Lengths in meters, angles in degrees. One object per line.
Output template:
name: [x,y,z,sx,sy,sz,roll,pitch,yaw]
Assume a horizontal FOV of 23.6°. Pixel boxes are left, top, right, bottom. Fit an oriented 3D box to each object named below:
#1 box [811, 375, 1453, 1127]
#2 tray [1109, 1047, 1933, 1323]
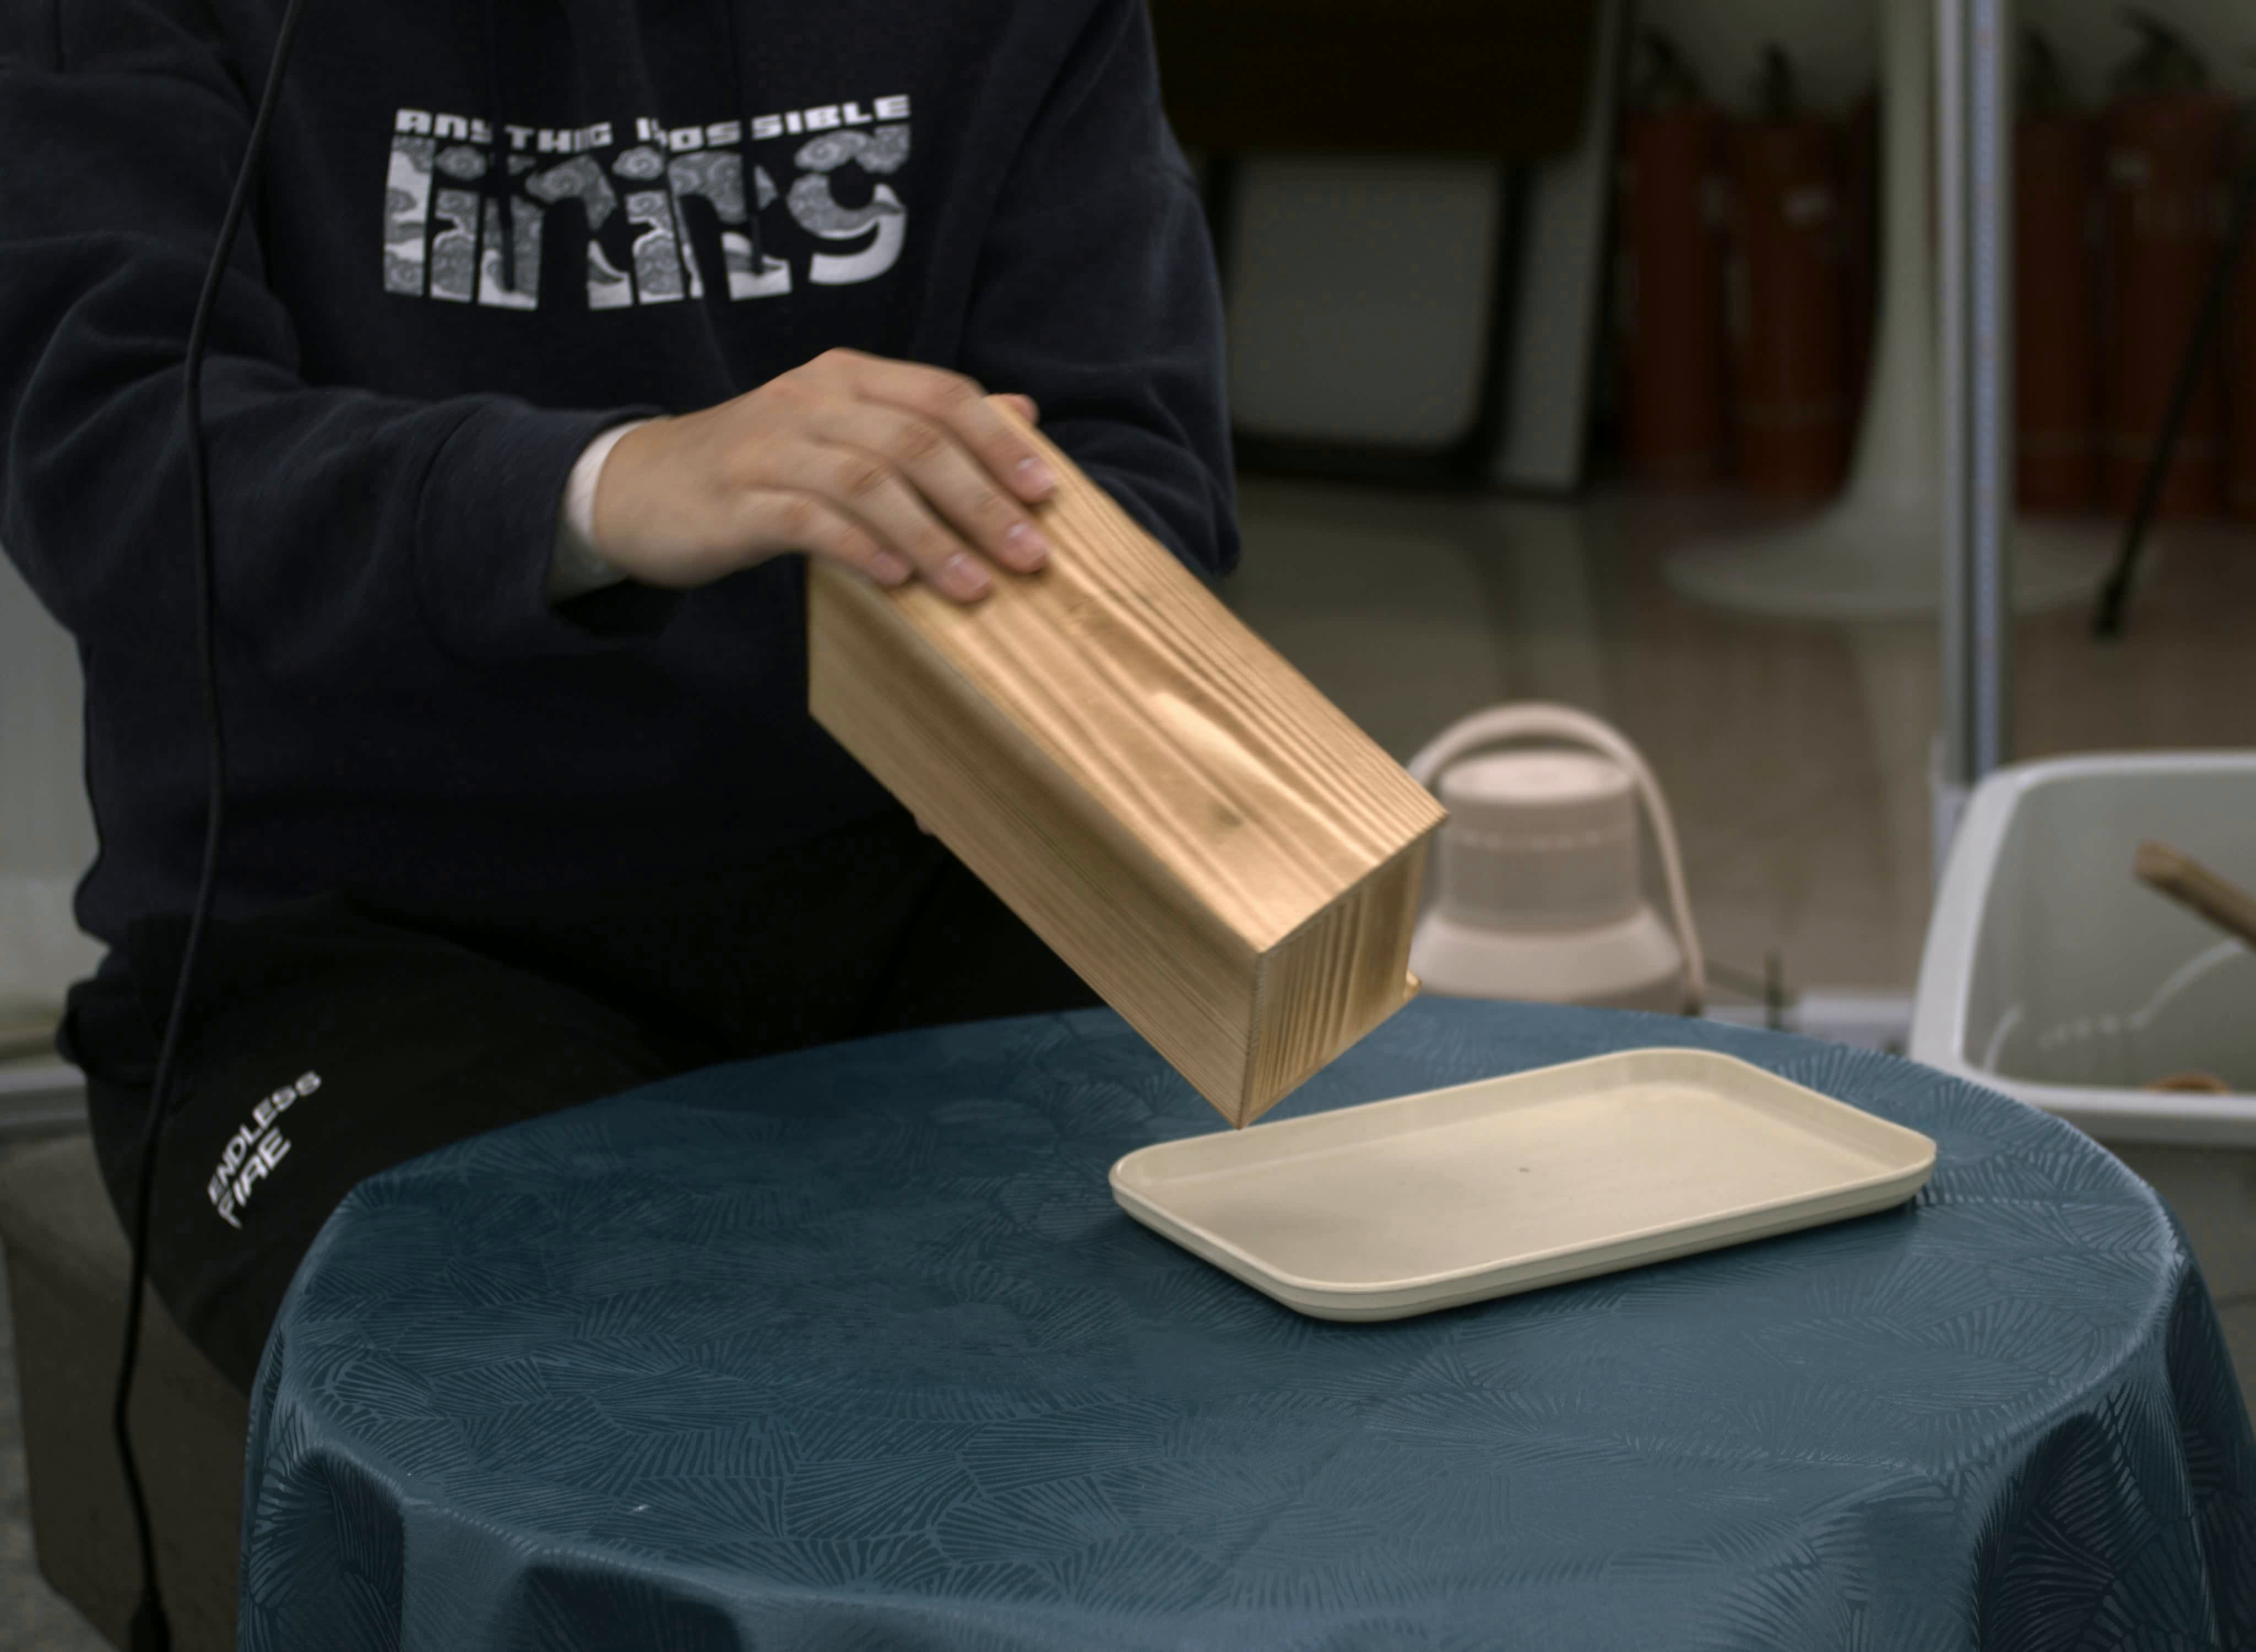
box: [-0.003,-0.024,1.688,0.079,0.108,0.213,-34,64,-24]
tray: [0.126,0.115,1.729,0.234,0.017,0.173,-11,15,-24]
